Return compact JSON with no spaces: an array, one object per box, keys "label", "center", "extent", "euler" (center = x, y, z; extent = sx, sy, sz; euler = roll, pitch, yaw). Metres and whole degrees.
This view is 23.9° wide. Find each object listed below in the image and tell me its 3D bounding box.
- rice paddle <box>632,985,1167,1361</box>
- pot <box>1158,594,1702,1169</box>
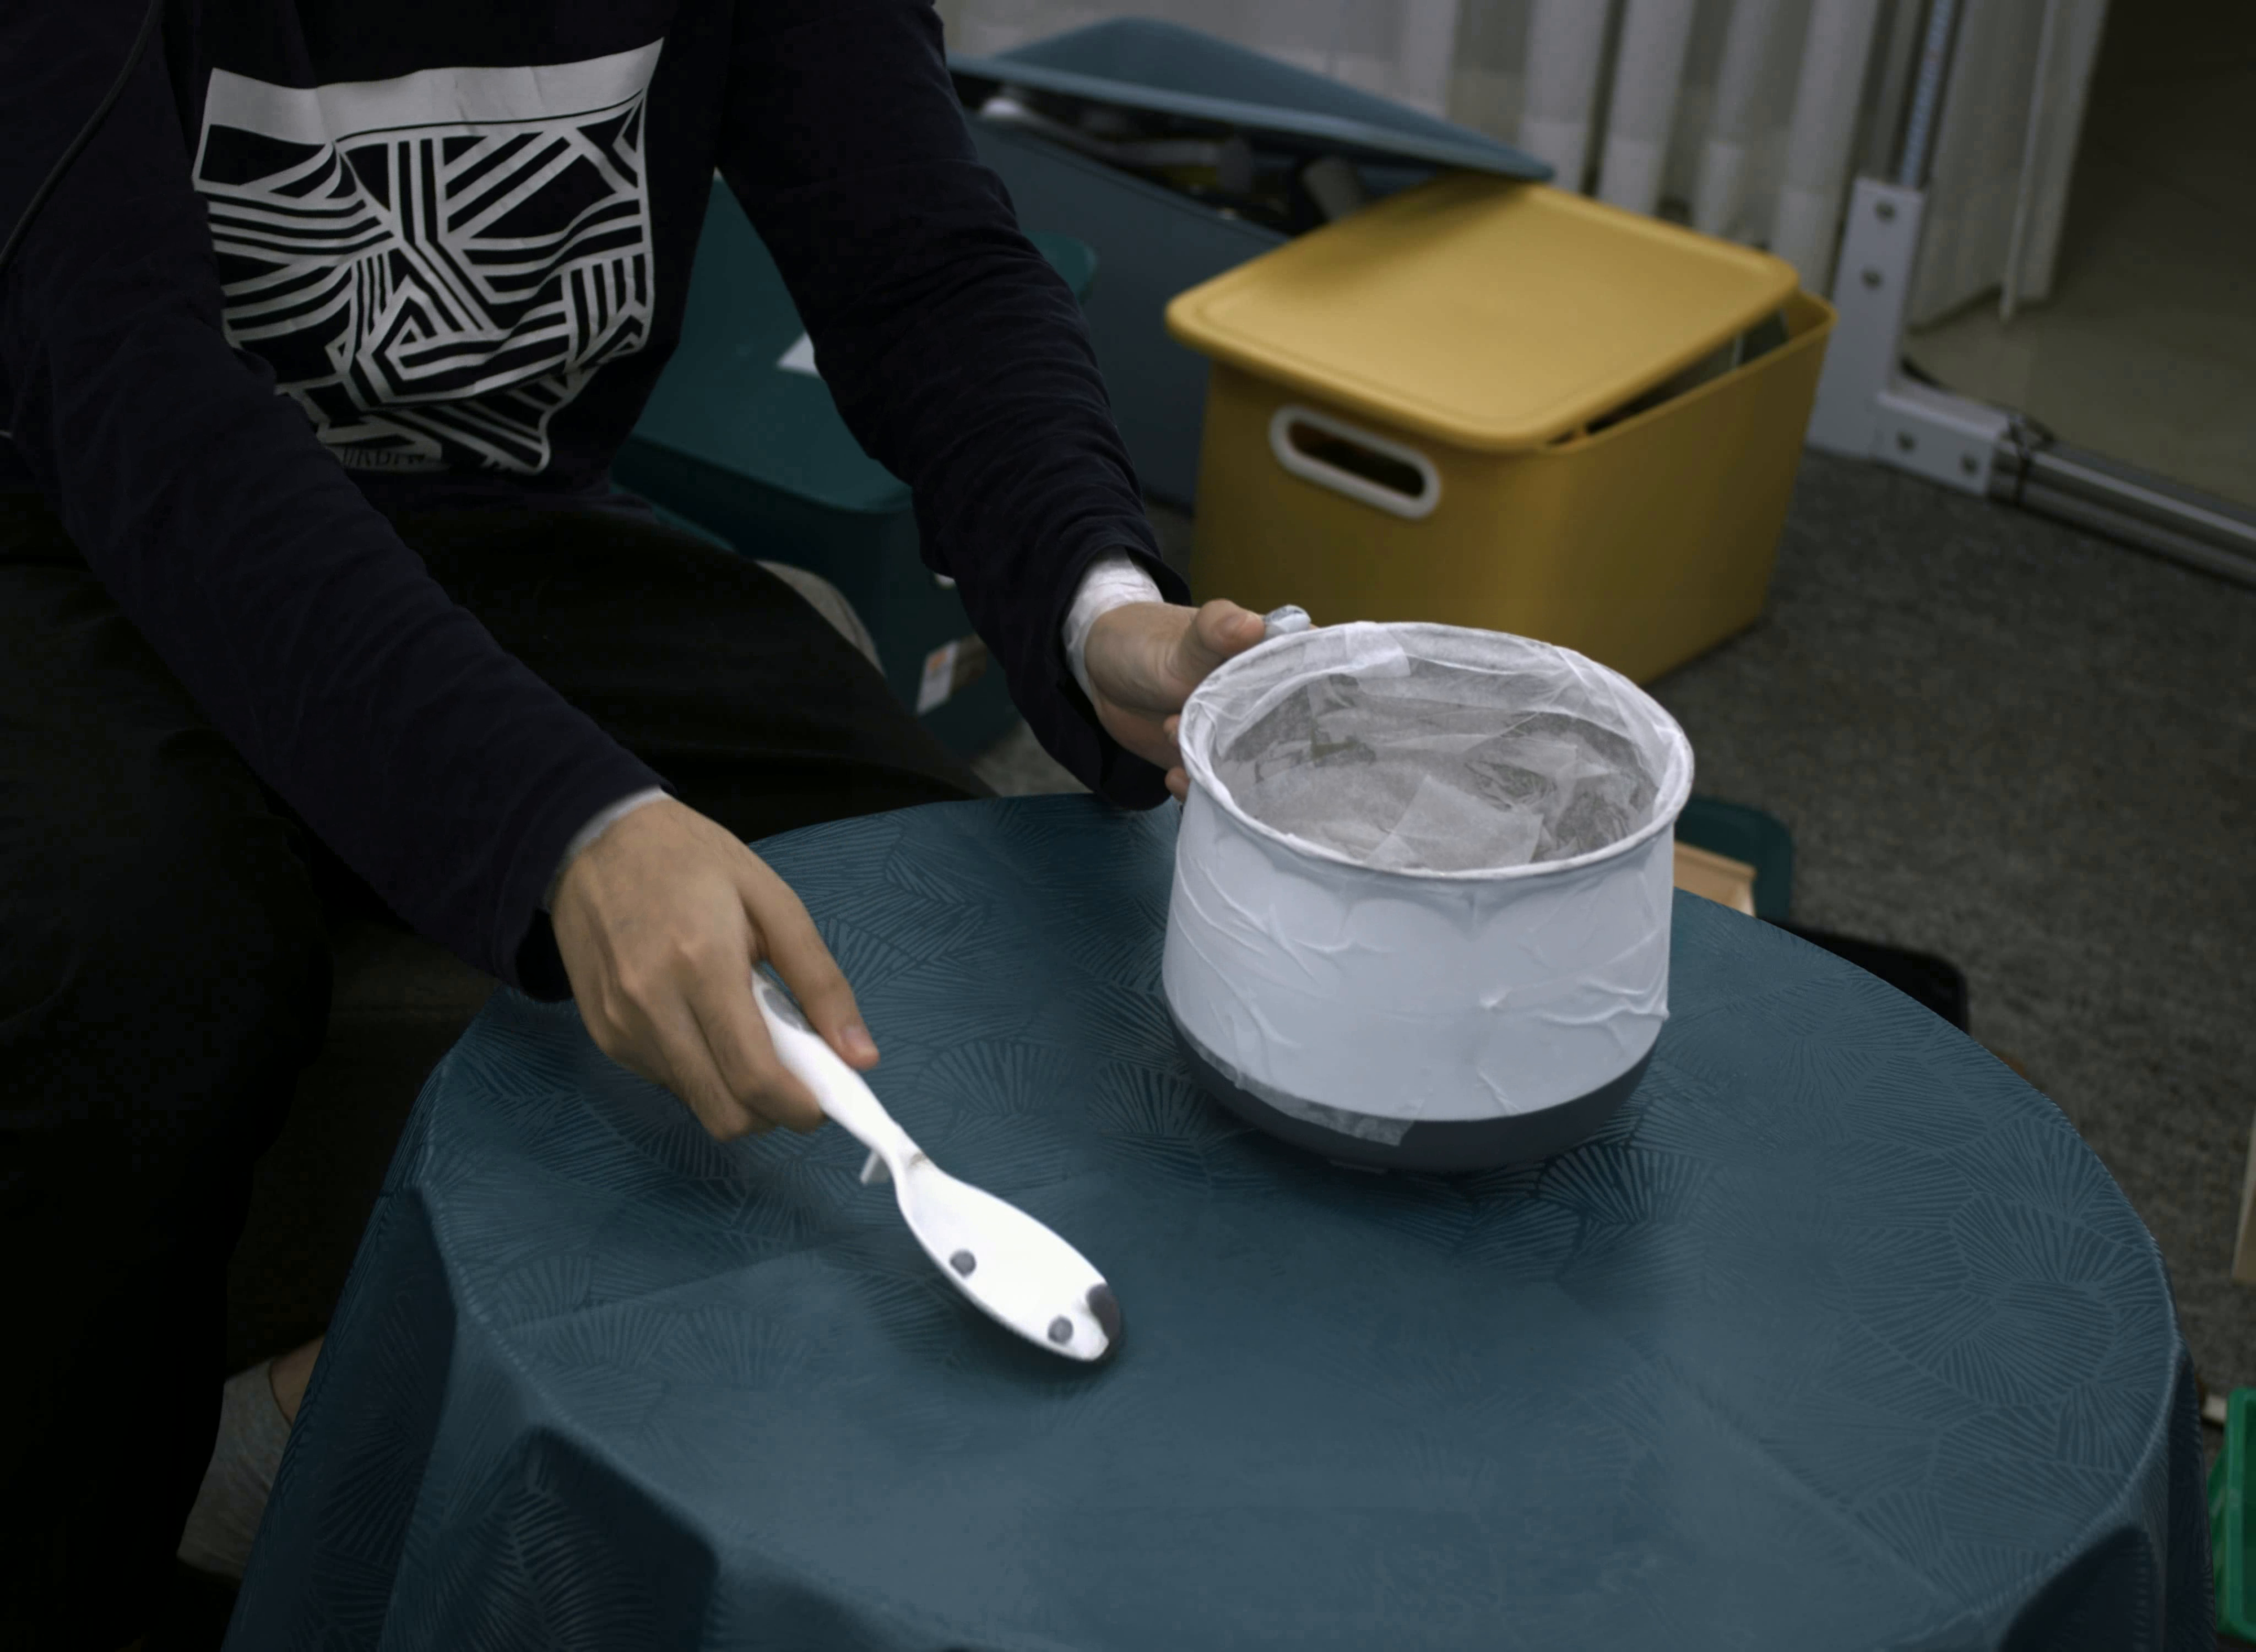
[{"label":"rice paddle","center":[-0.072,0.116,1.735],"extent":[0.206,0.029,0.068],"euler":[32,18,17]},{"label":"pot","center":[0.087,0.012,1.868],"extent":[0.177,0.136,0.236],"euler":[-11,34,-29]}]
